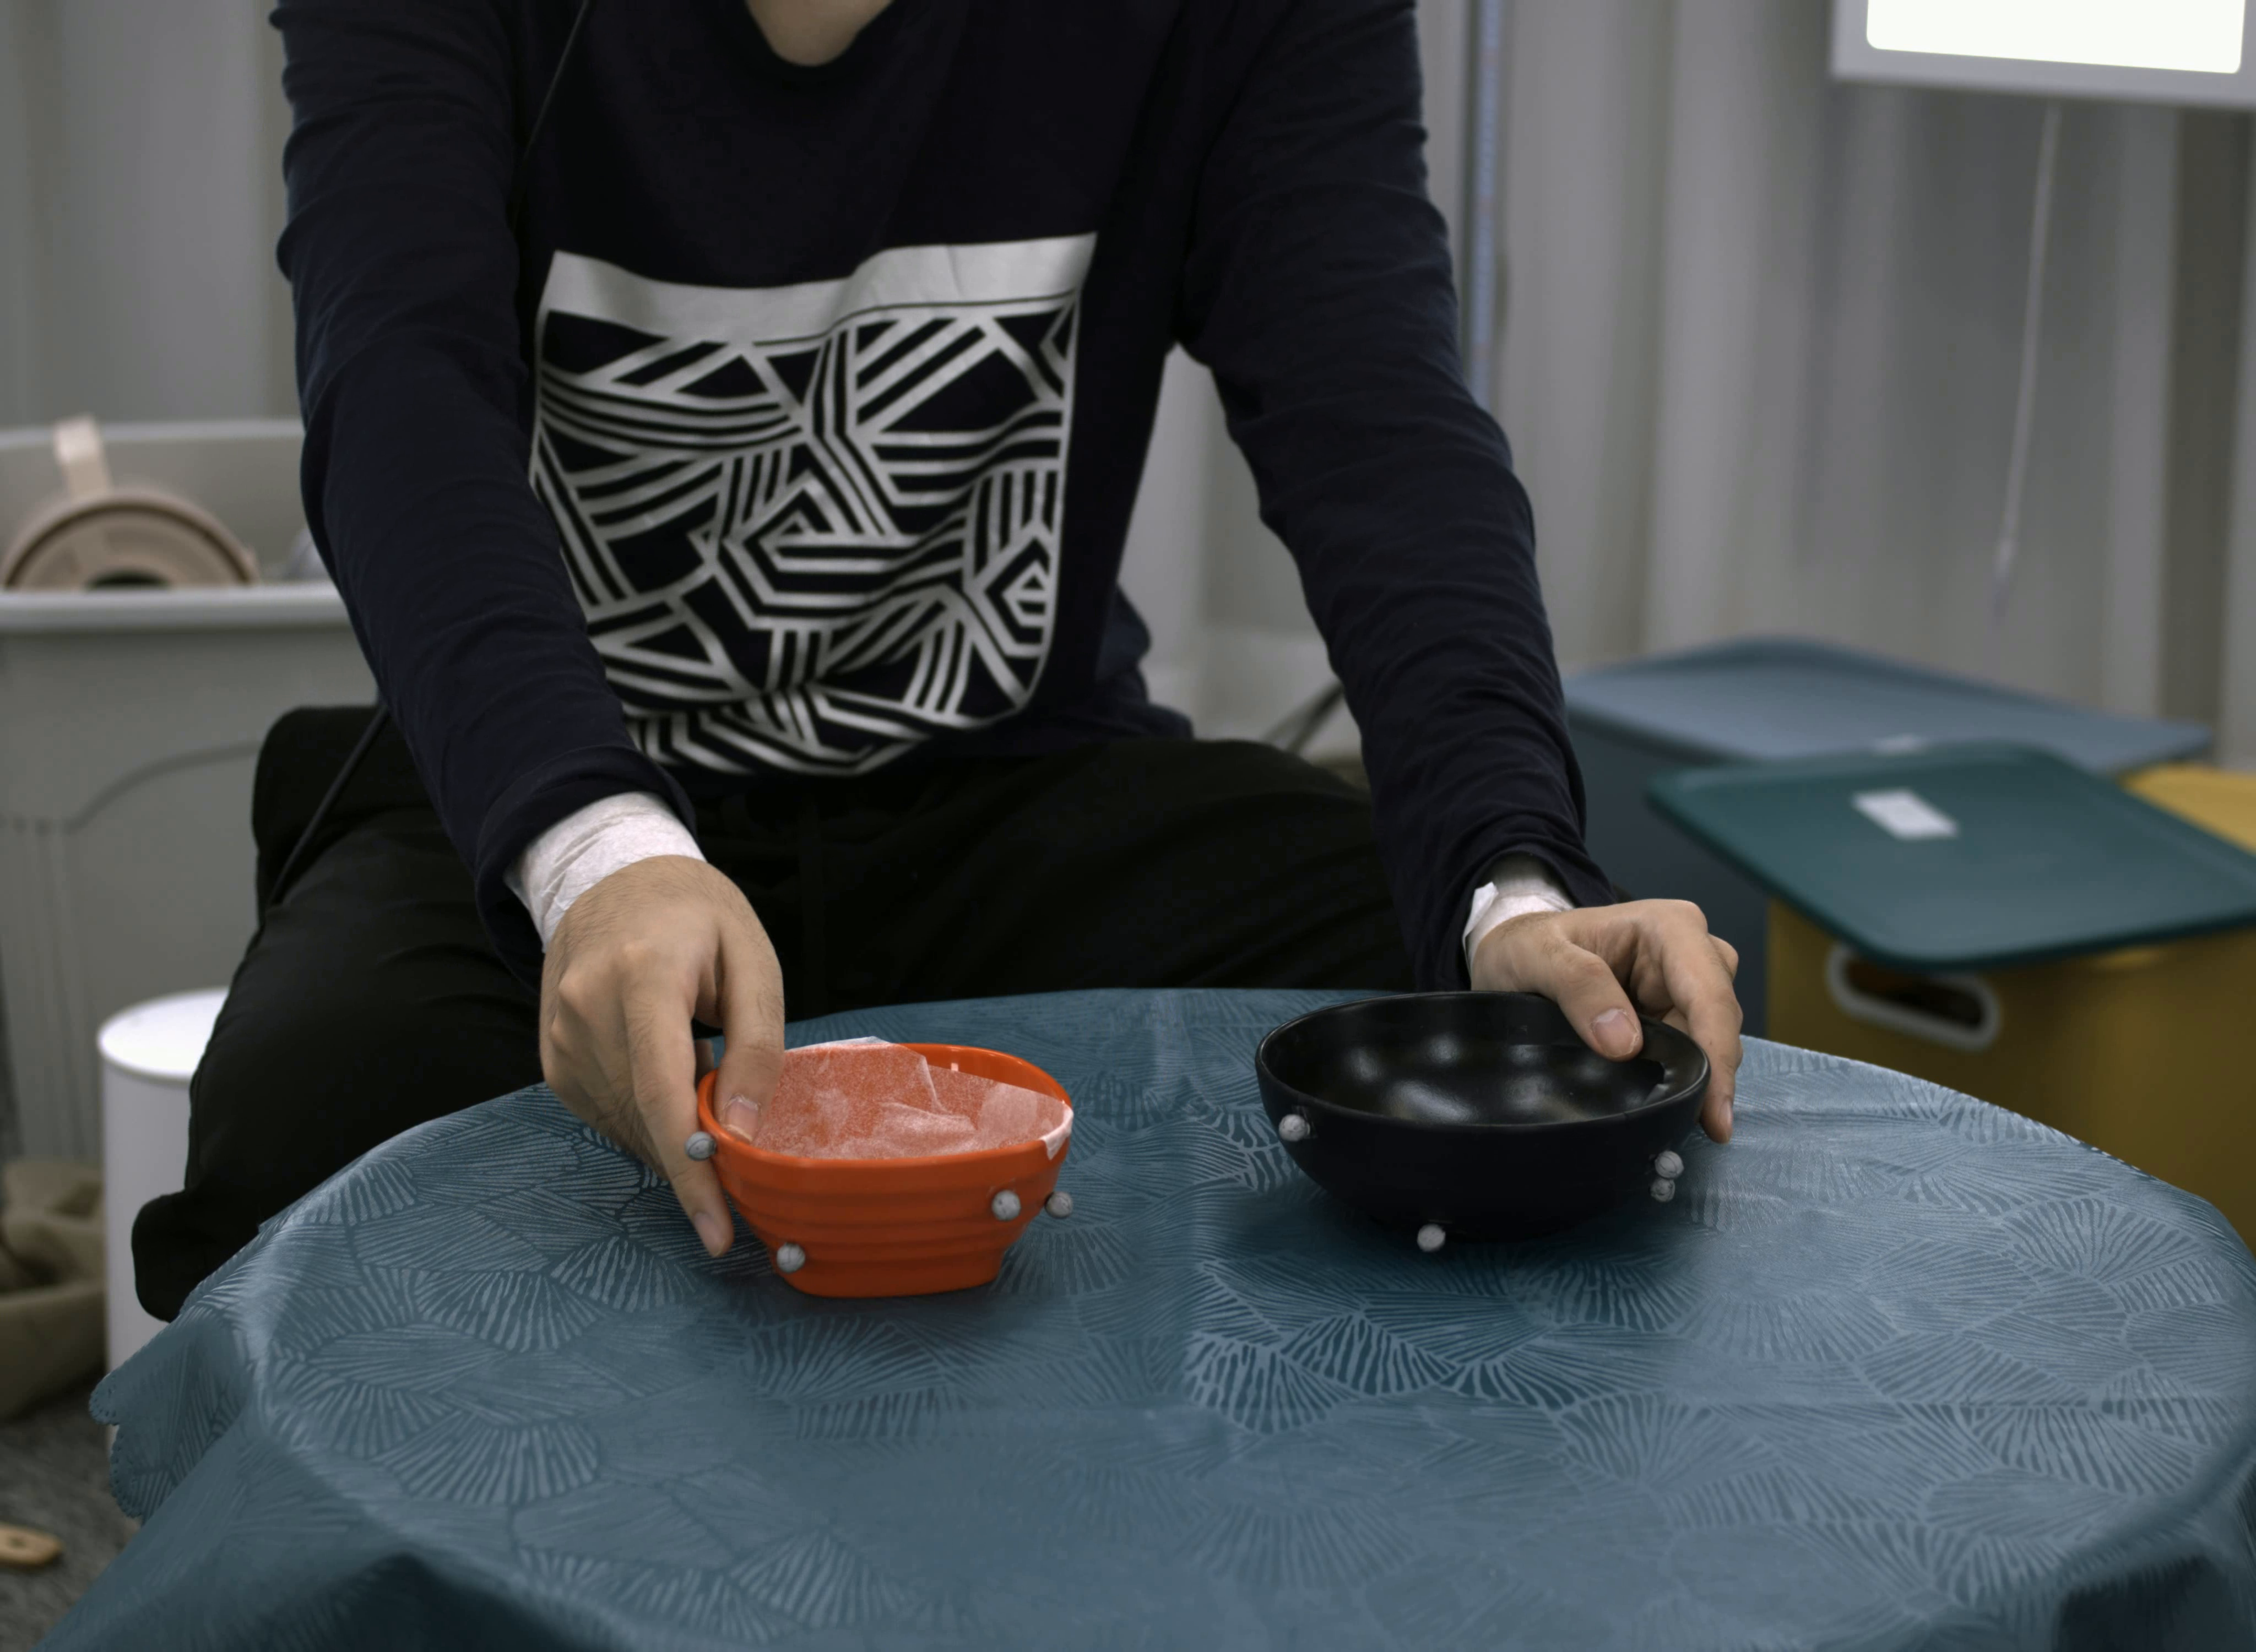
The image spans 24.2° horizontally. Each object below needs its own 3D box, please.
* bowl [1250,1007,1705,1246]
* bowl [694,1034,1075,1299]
[{"bbox_3d":[0.107,0.095,1.607,0.139,0.050,0.139,0,12,1],"label":"bowl"},{"bbox_3d":[-0.072,0.103,1.557,0.118,0.052,0.118,0,18,0],"label":"bowl"}]
